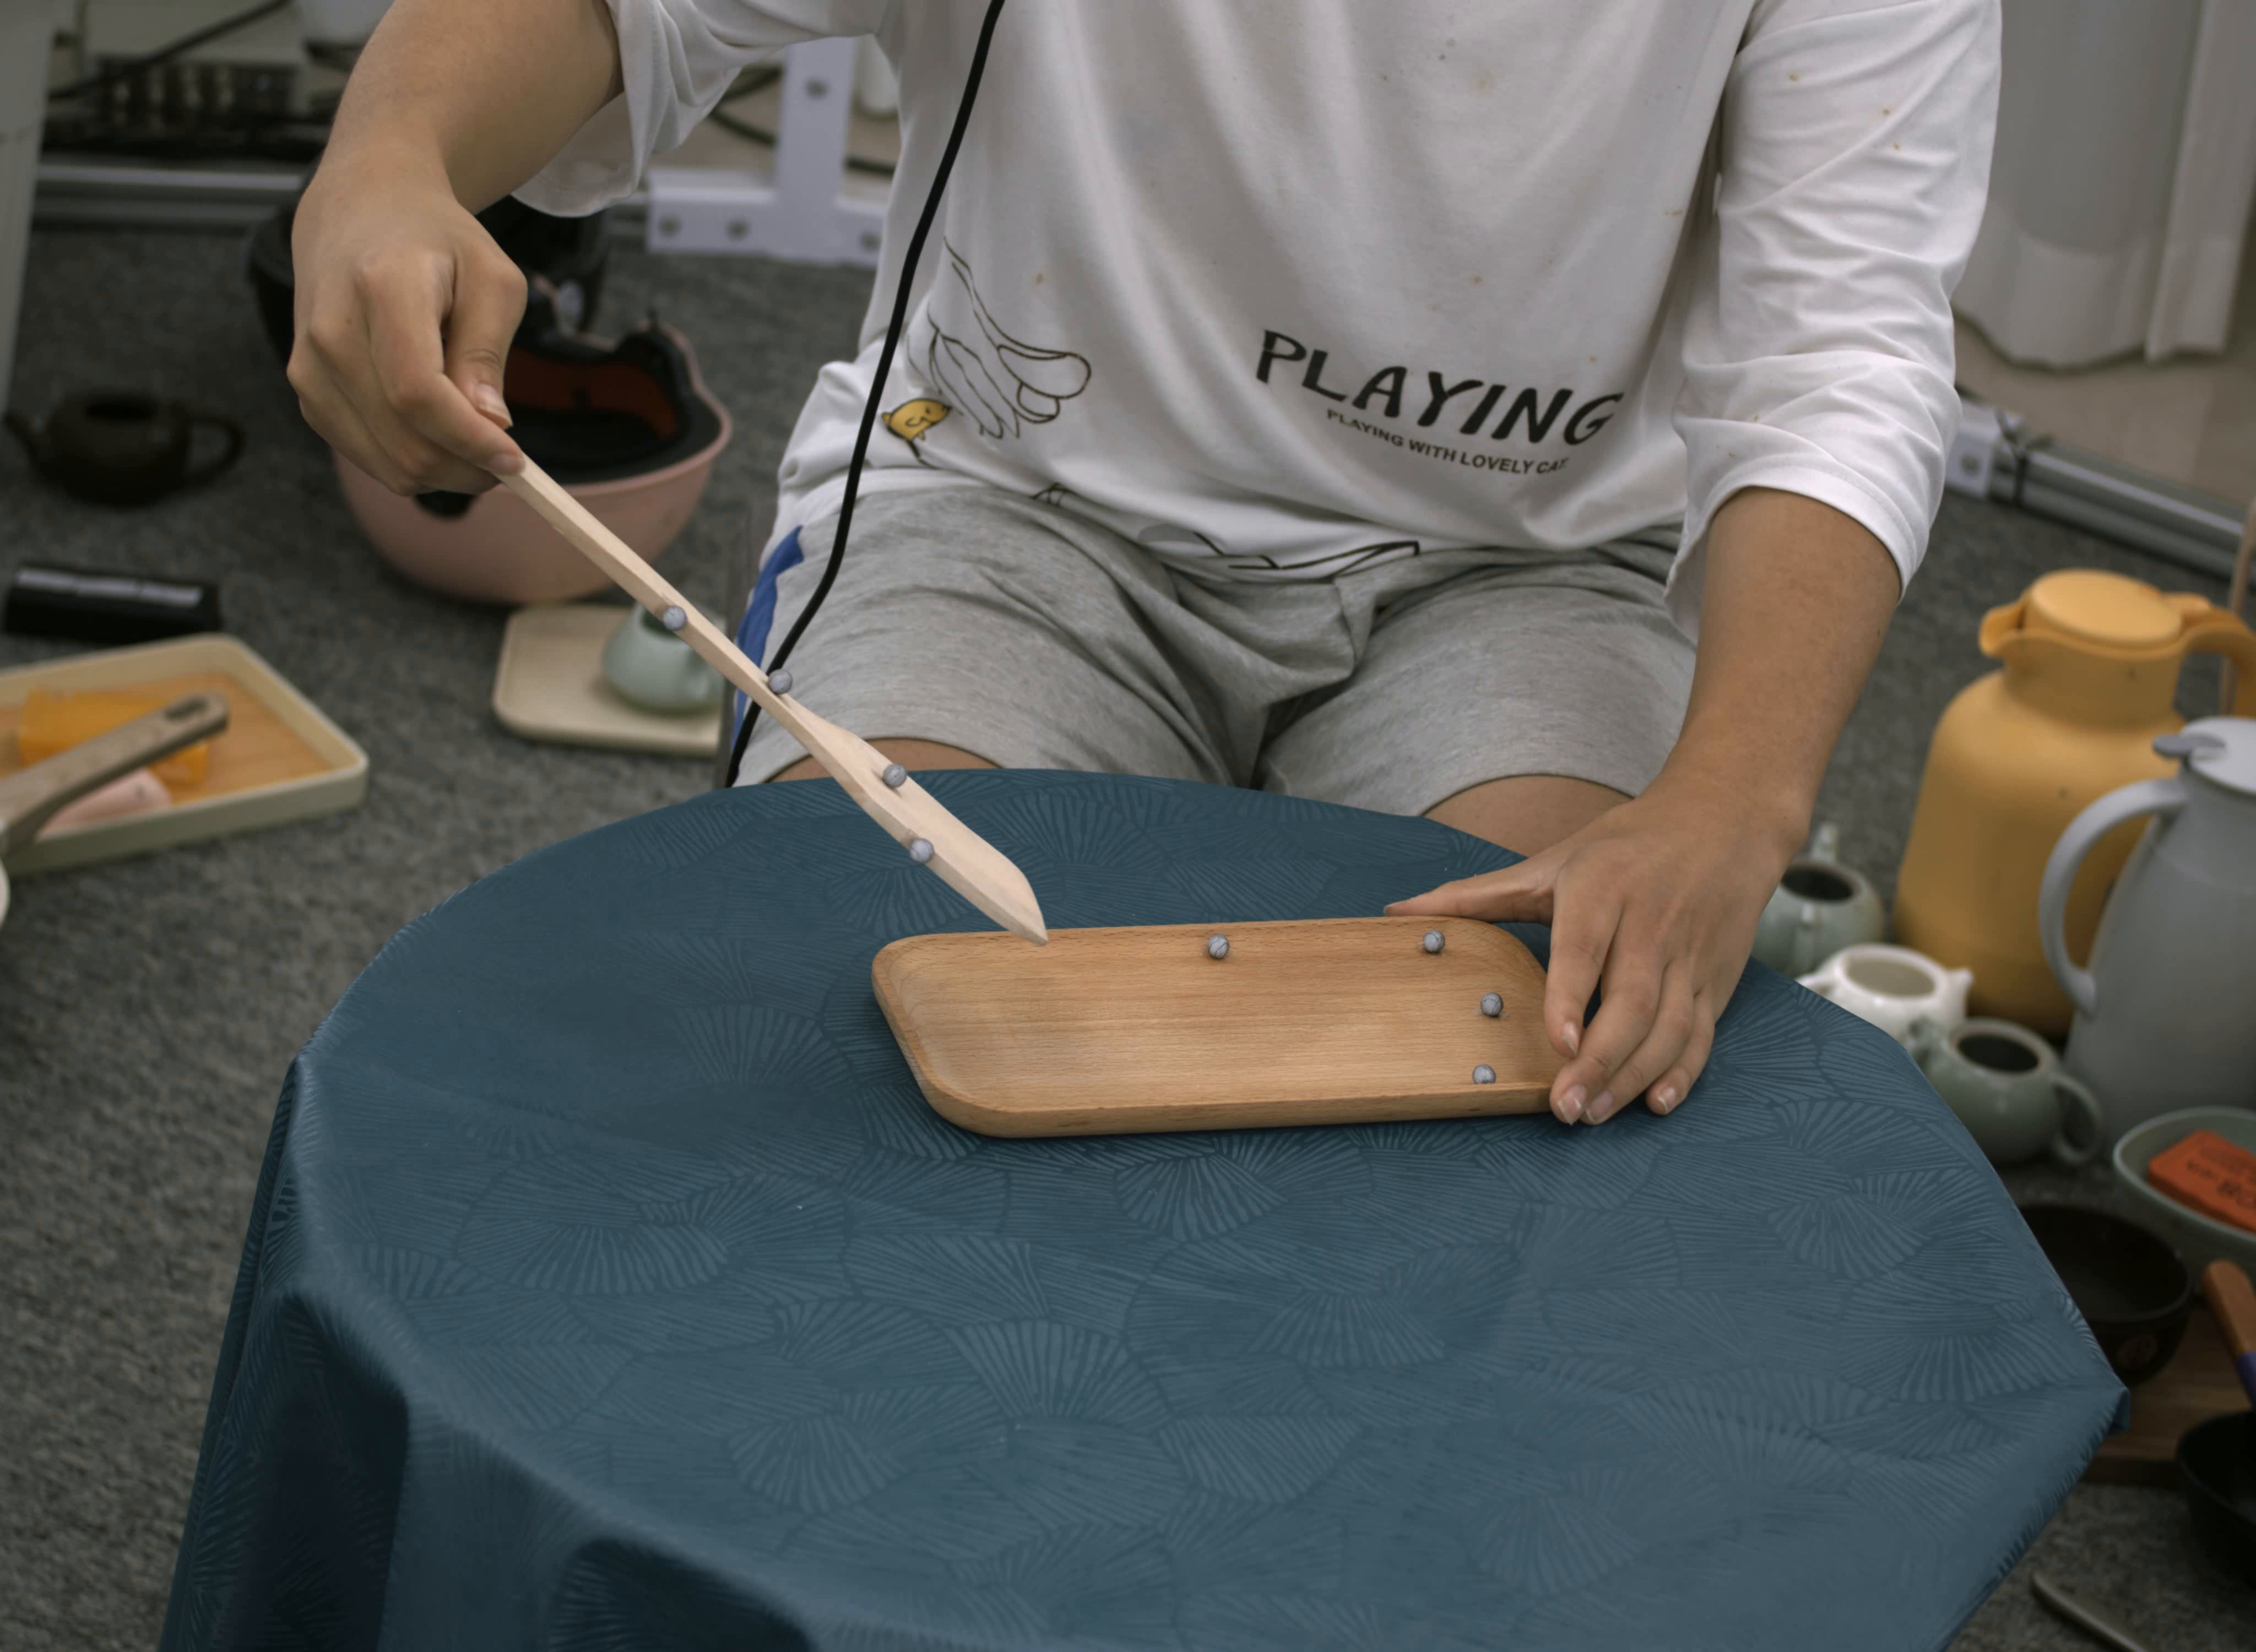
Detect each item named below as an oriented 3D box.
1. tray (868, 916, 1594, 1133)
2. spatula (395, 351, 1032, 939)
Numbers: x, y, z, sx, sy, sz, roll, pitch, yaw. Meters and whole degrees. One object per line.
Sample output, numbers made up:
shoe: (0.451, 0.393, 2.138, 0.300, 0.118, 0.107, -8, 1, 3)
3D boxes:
tray: (0.036, 0.071, 1.902, 0.249, 0.023, 0.131, -2, 25, -15)
spatula: (-0.140, -0.061, 1.802, 0.291, 0.010, 0.073, 42, 9, -20)
